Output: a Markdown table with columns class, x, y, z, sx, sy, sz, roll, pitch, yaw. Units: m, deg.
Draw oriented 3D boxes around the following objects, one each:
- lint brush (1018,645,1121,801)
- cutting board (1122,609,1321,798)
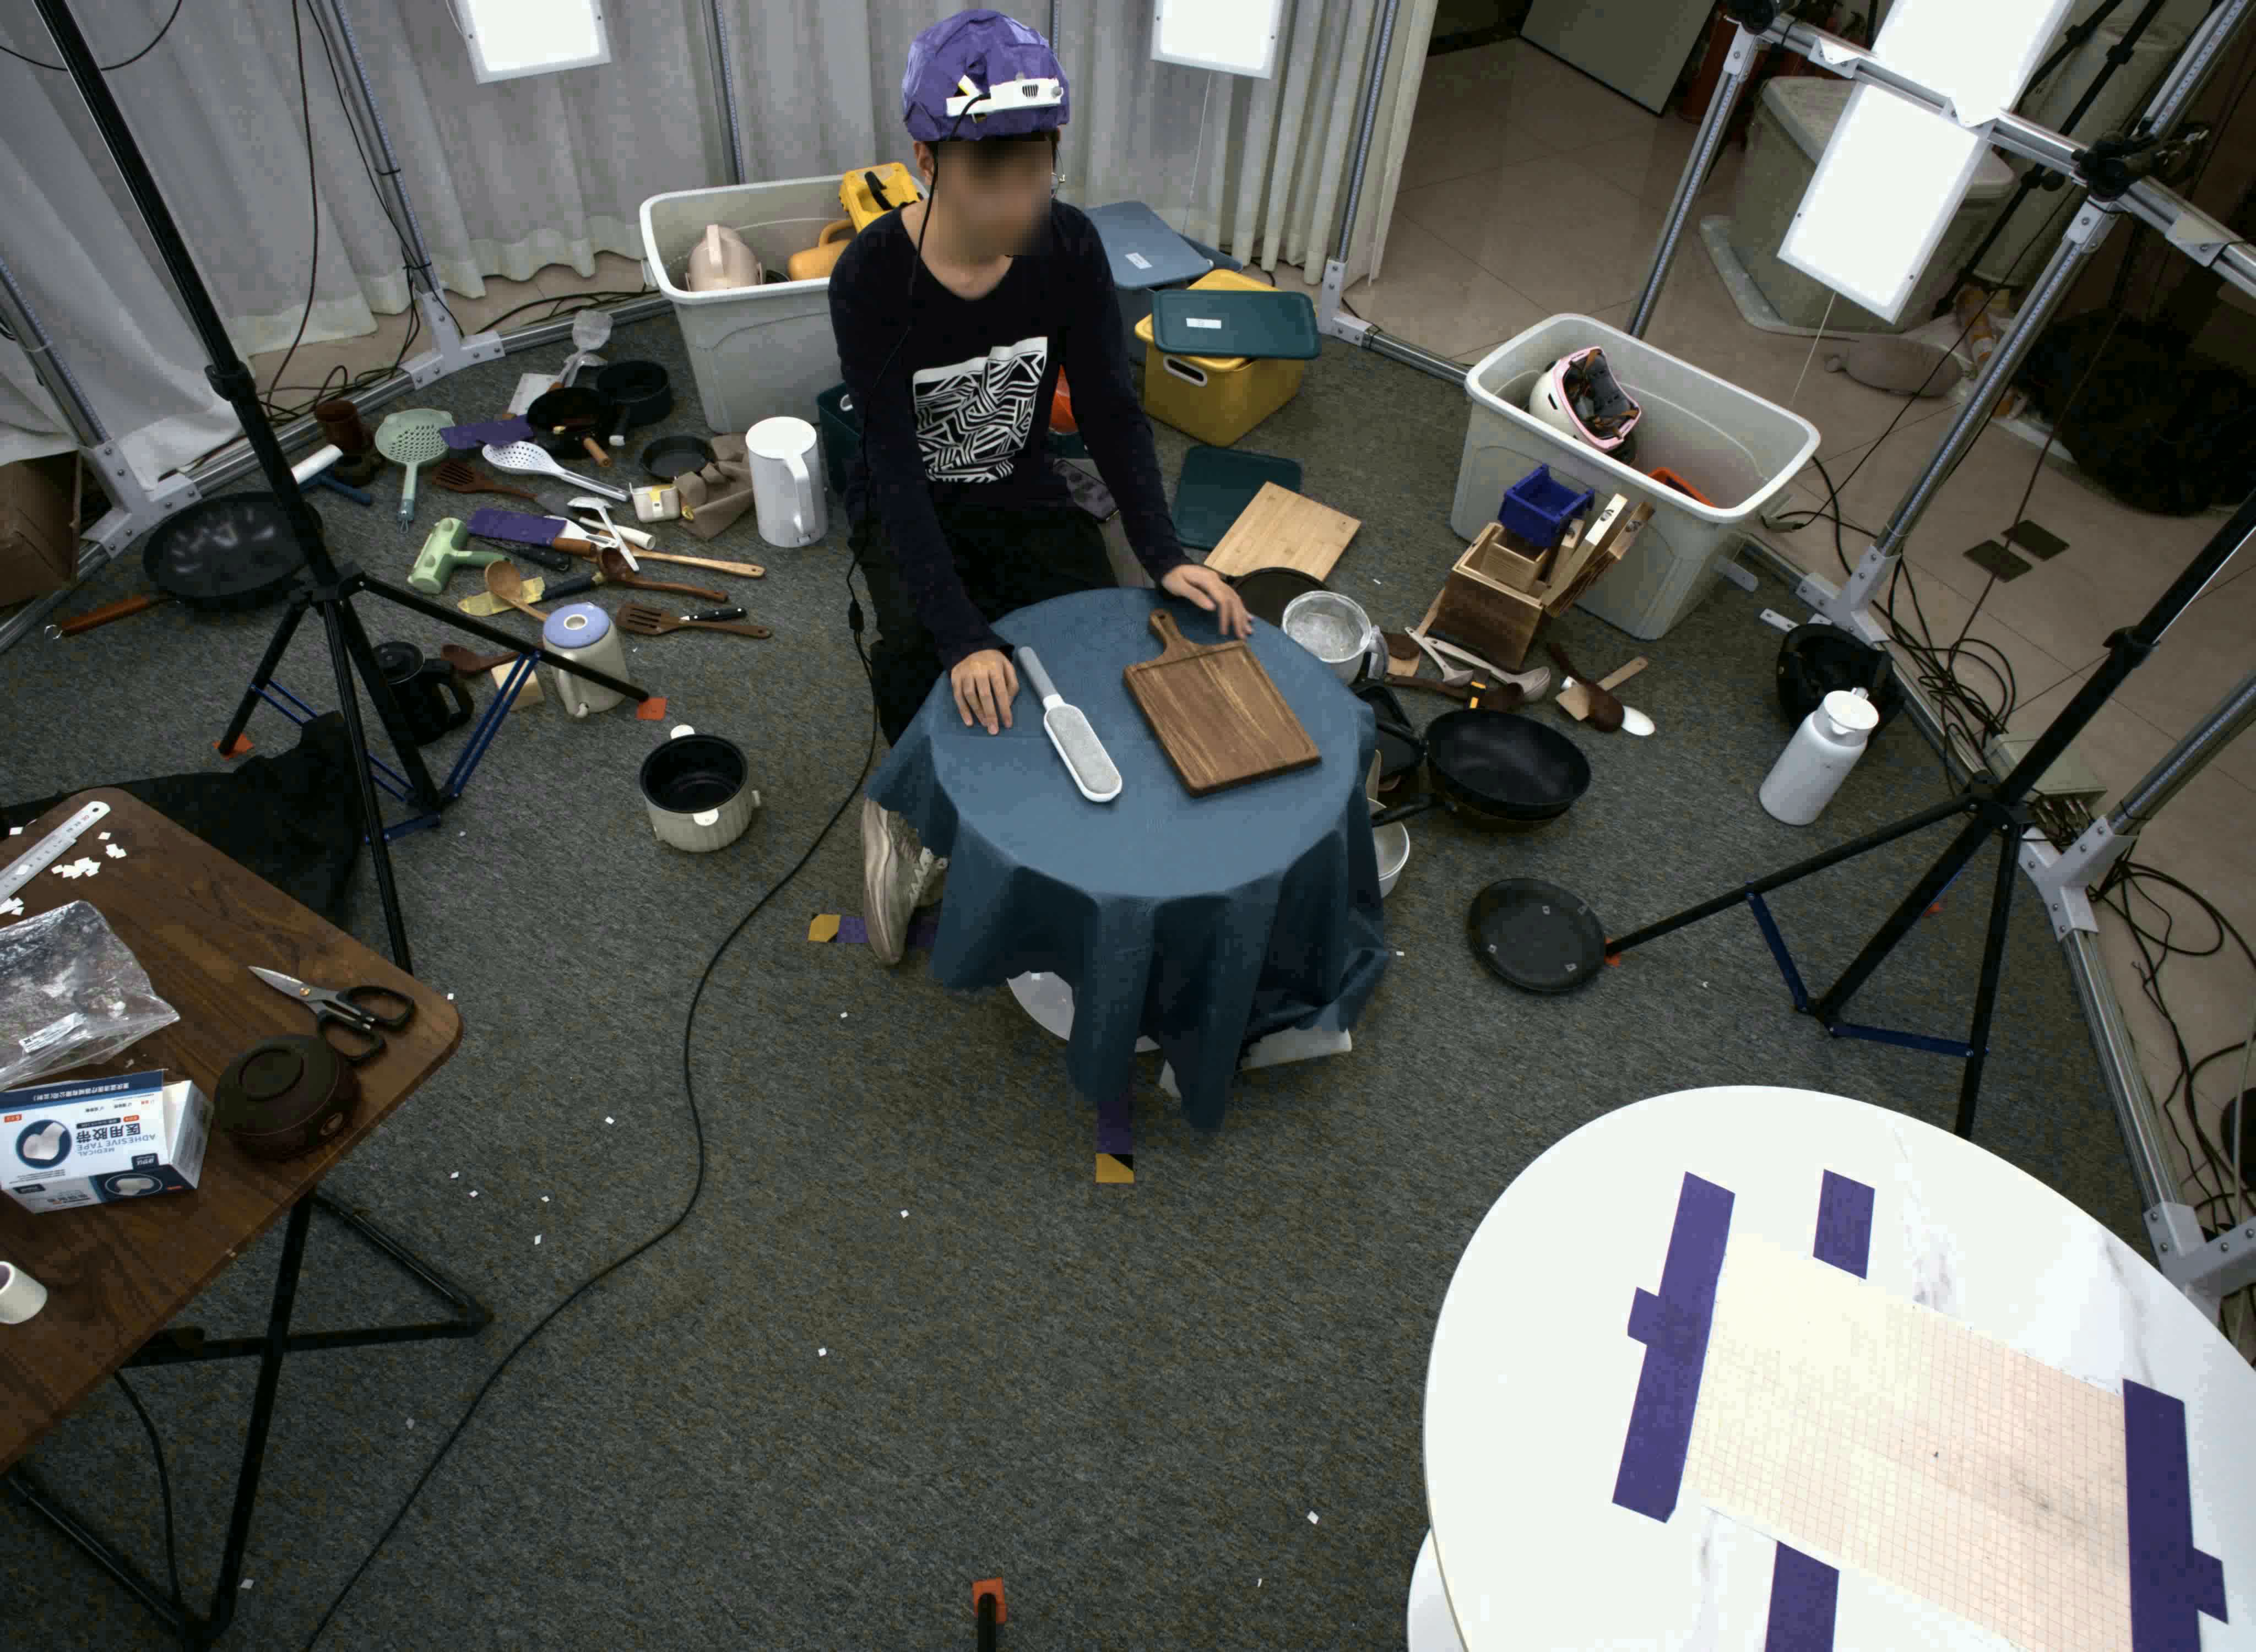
| class | x | y | z | sx | sy | sz | roll | pitch | yaw |
| --- | --- | --- | --- | --- | --- | --- | --- | --- | --- |
| lint brush | -0.087 | -0.148 | 1.773 | 0.060 | 0.020 | 0.316 | -20 | 53 | -13 |
| cutting board | 0.109 | -0.193 | 1.830 | 0.201 | 0.022 | 0.360 | -15 | 52 | -16 |
